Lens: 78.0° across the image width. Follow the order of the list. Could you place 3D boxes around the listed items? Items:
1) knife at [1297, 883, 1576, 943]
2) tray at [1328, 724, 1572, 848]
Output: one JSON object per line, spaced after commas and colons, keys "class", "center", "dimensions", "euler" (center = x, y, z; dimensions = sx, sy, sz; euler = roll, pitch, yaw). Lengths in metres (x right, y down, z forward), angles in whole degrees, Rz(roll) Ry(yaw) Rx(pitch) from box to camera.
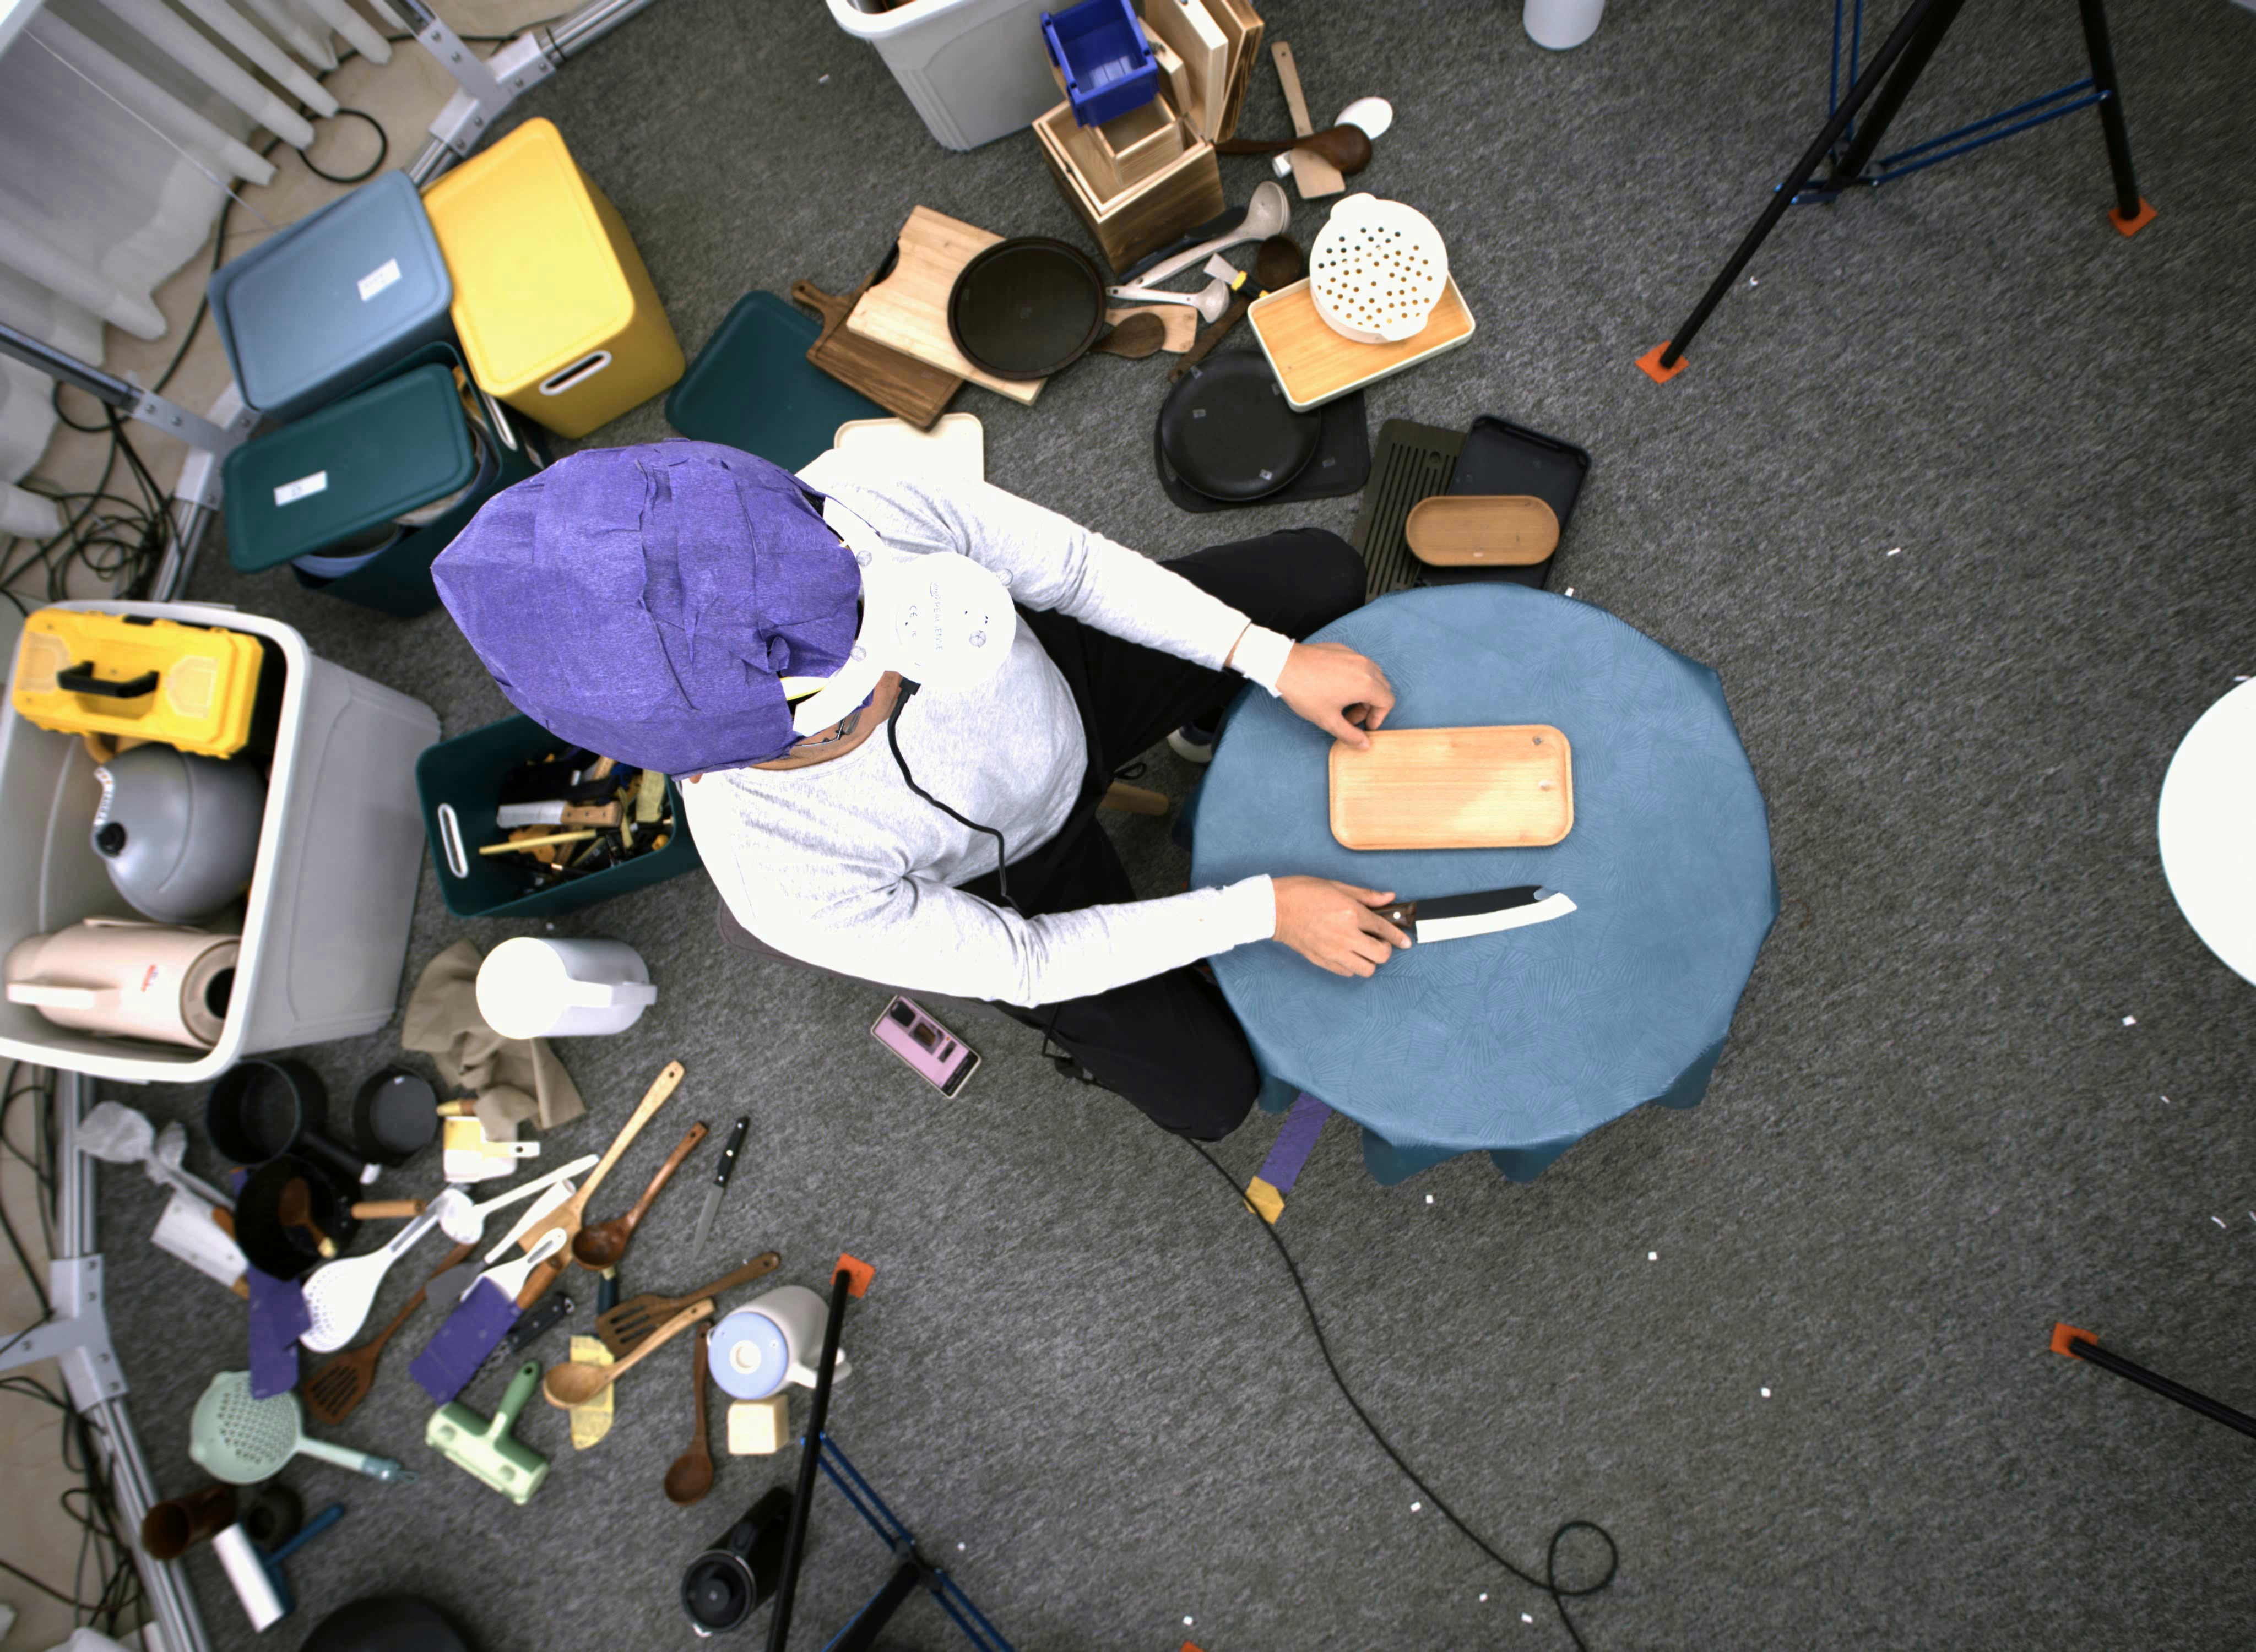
{"class": "knife", "center": [0.322, 0.093, 1.442], "dimensions": [0.290, 0.020, 0.050], "euler": [-6, 92, 8]}
{"class": "tray", "center": [0.337, -0.043, 1.446], "dimensions": [0.252, 0.023, 0.130], "euler": [0, 84, 11]}
